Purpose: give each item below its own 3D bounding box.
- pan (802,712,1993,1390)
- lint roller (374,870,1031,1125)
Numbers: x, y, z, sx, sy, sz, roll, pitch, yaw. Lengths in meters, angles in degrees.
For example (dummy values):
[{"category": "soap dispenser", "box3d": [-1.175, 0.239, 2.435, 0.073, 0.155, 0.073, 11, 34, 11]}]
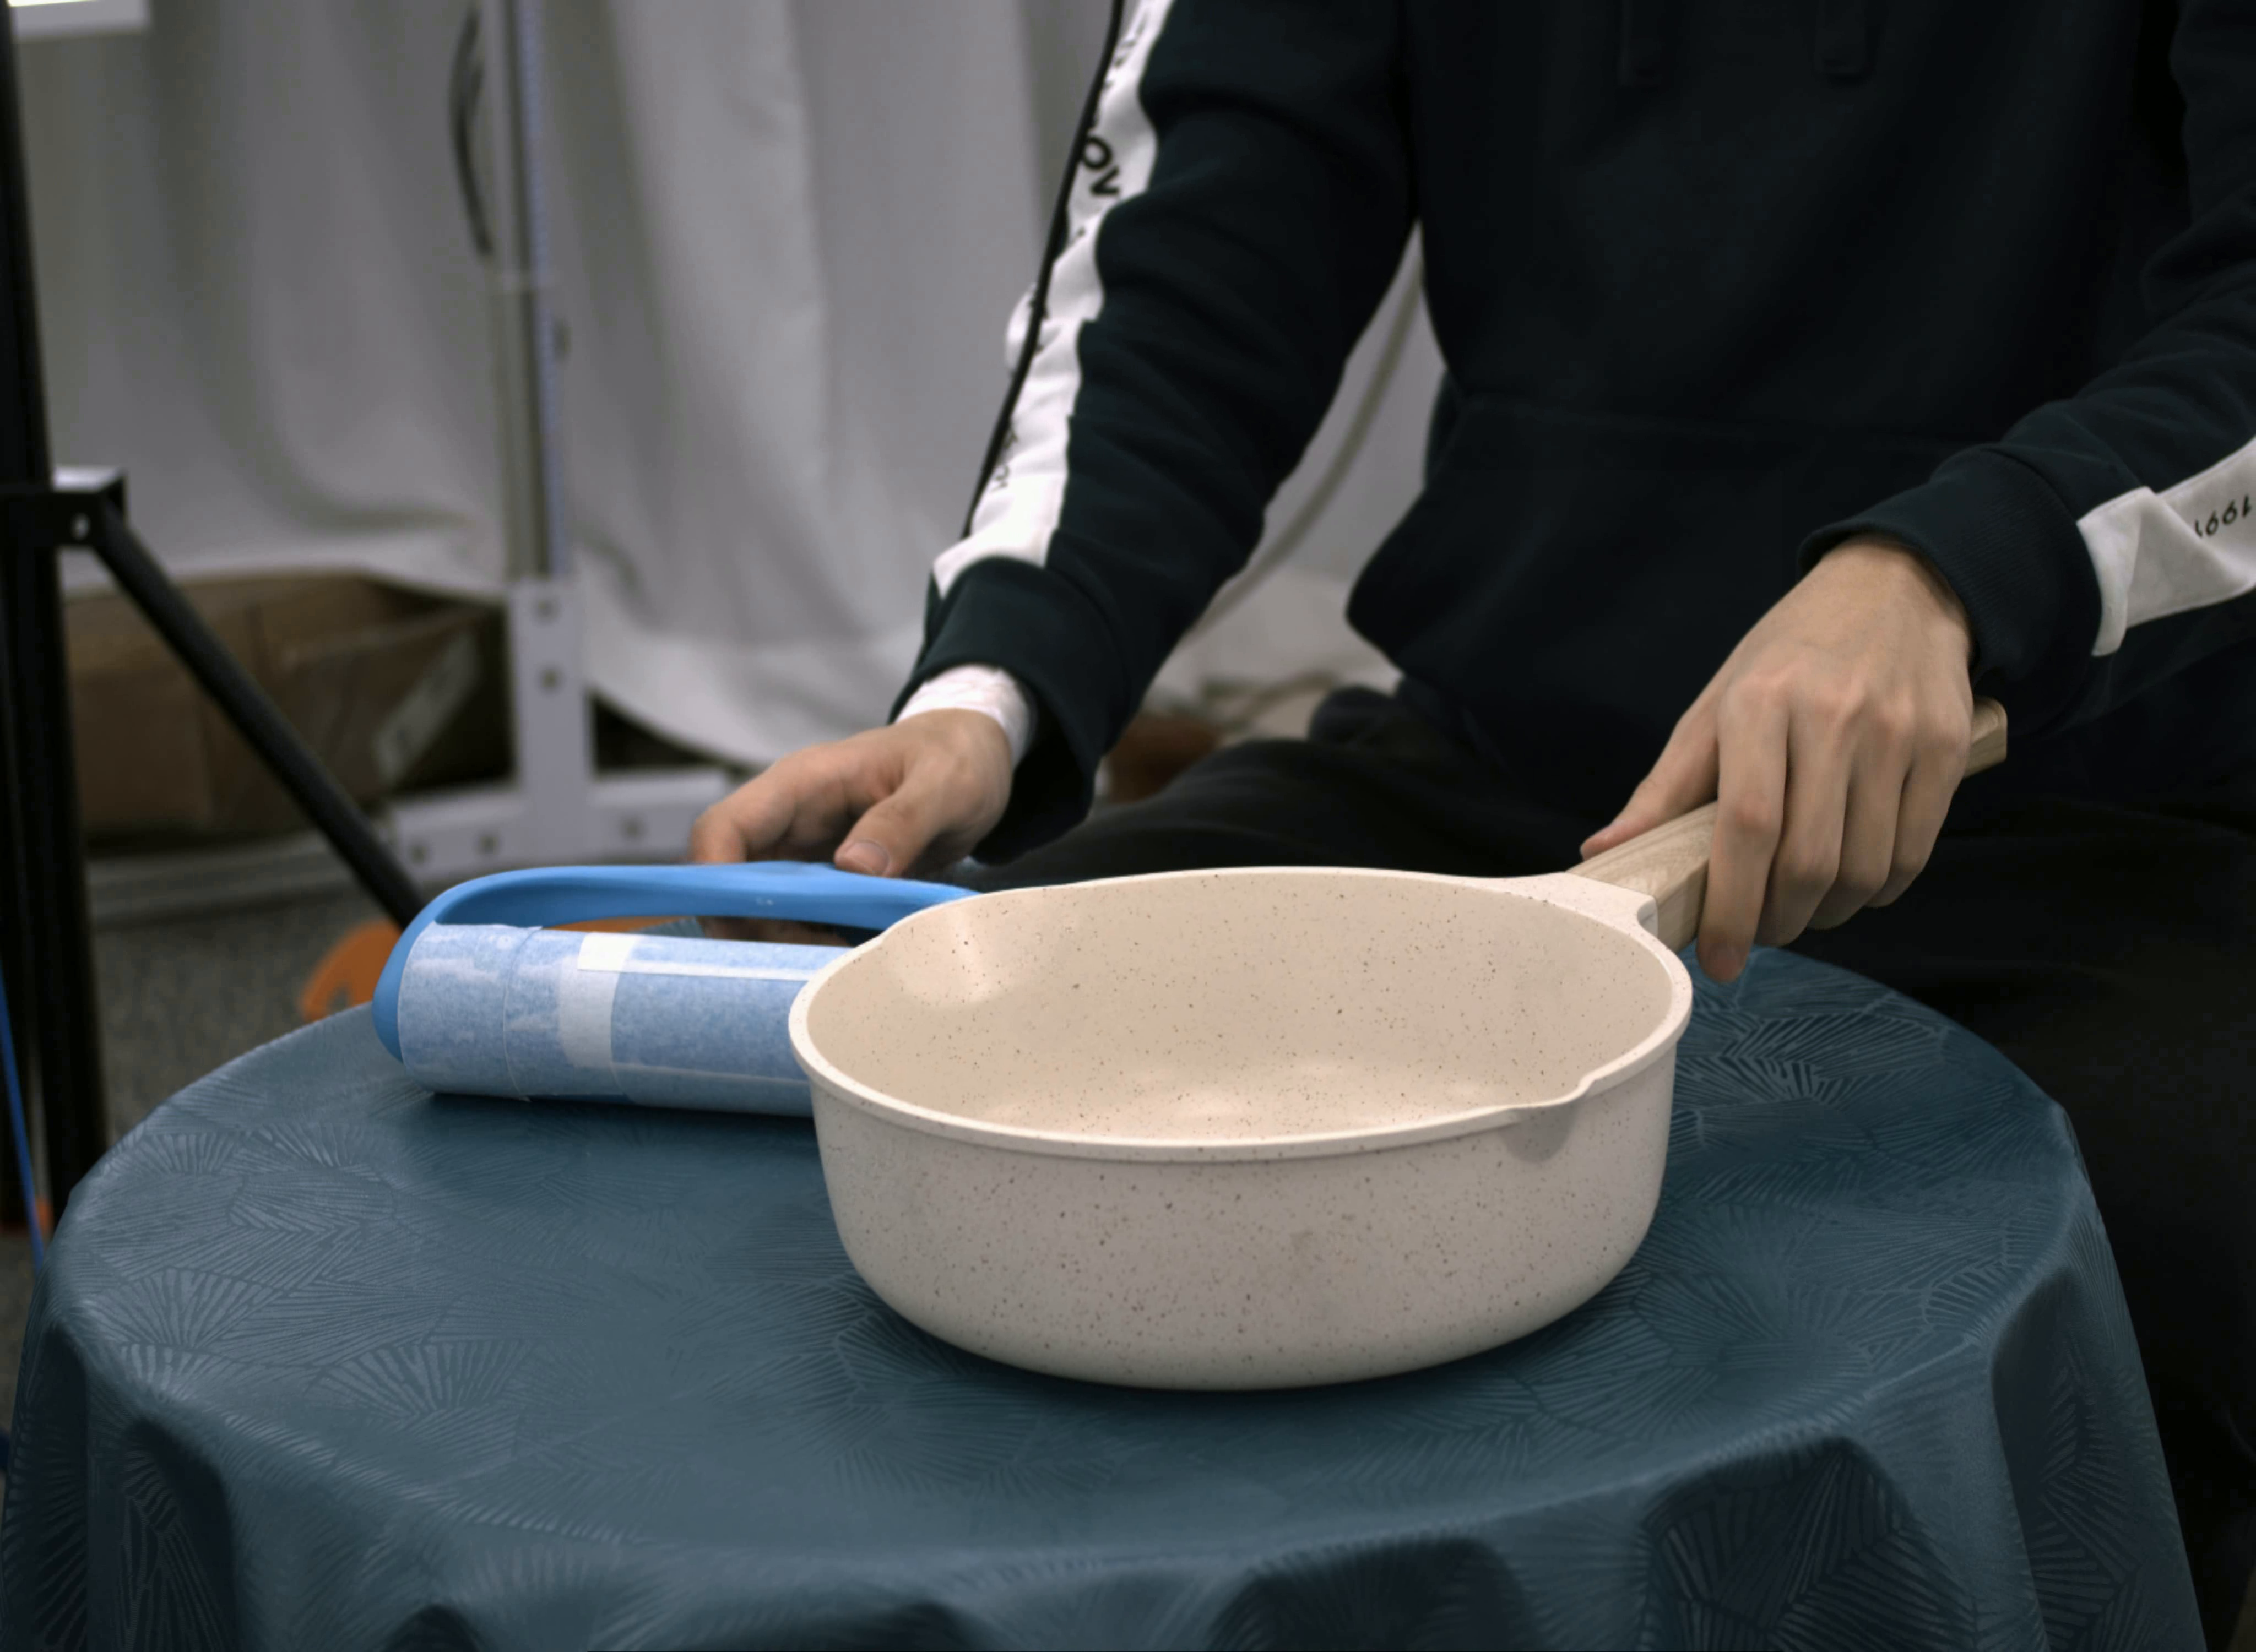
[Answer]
[{"category": "pan", "box3d": [0.105, 0.060, 1.528, 0.425, 0.102, 0.269, -15, 19, -37]}, {"category": "lint roller", "box3d": [-0.111, 0.044, 1.697, 0.231, 0.068, 0.179, 0, 17, 17]}]
